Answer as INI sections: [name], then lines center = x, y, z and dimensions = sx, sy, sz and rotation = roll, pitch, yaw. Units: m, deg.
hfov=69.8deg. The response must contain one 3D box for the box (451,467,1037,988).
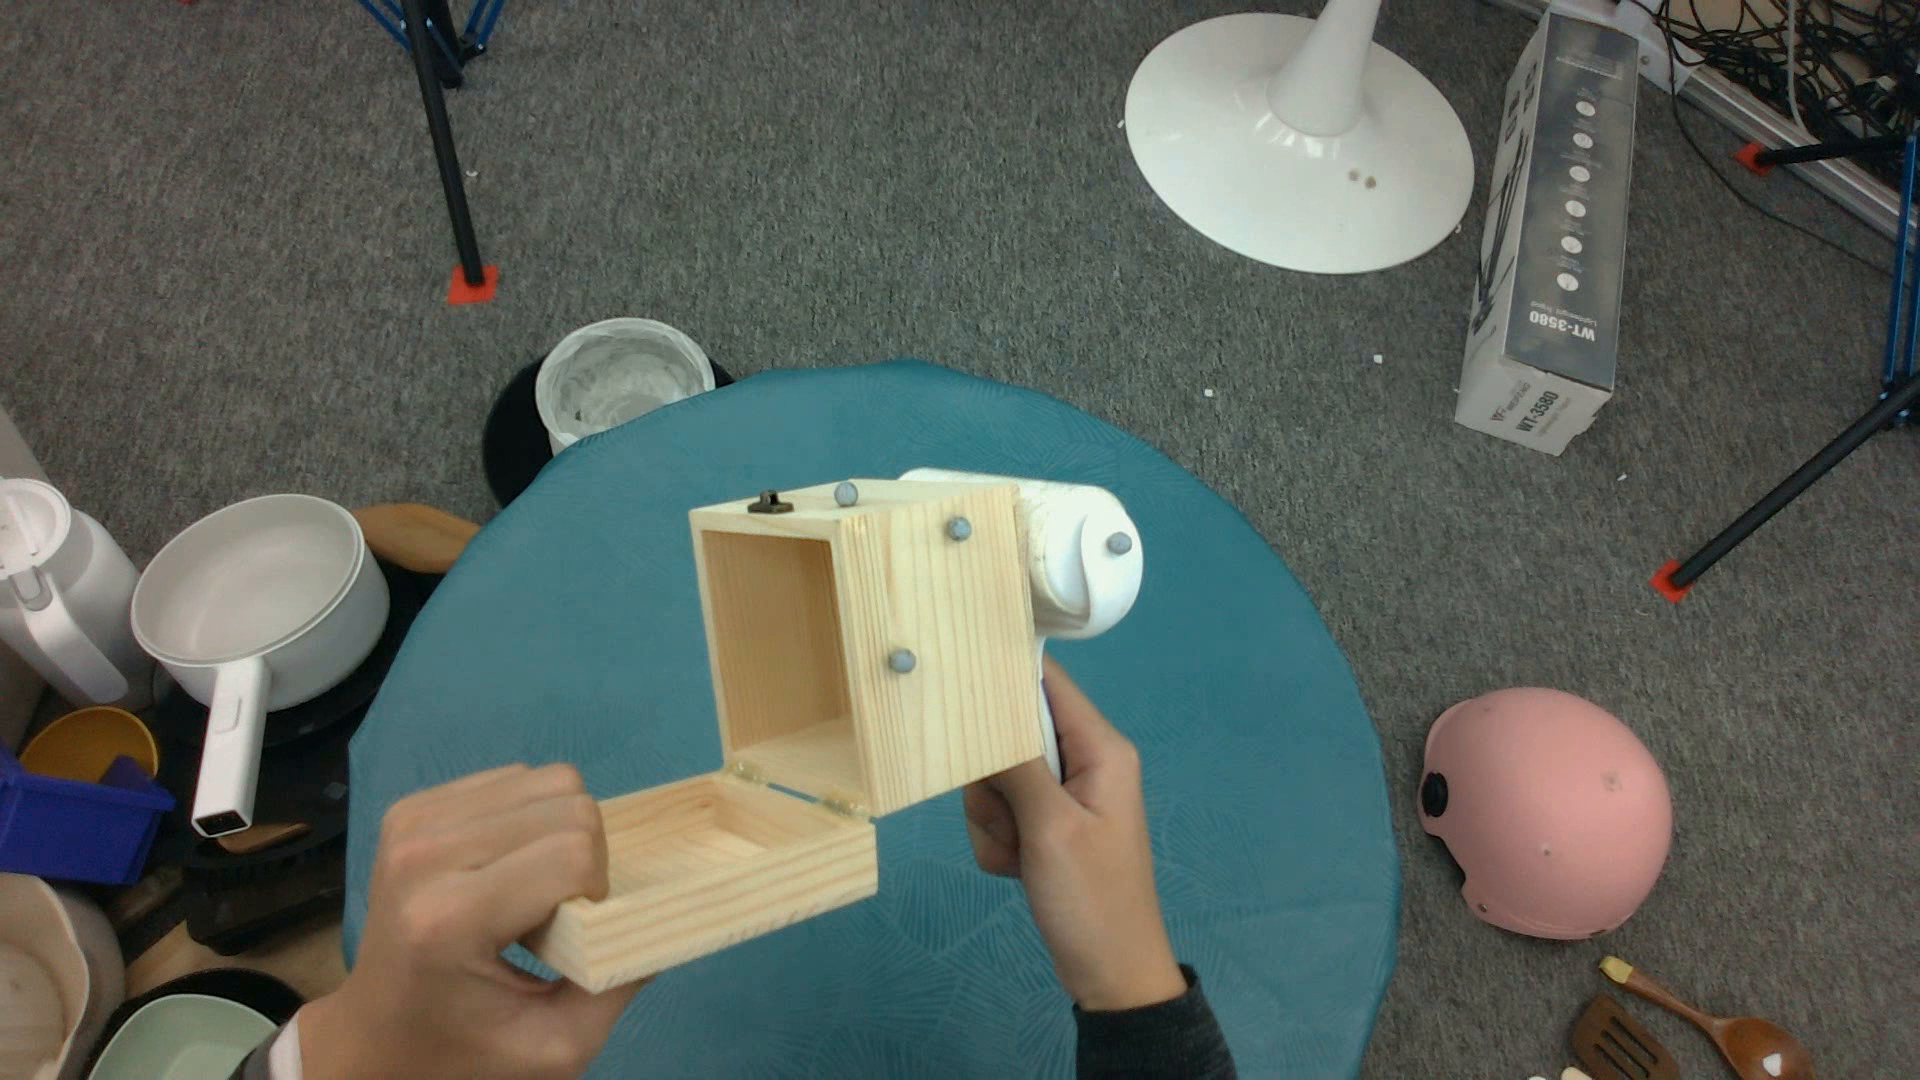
[box]
center = -0.077, 0.048, 0.475
dimensions = 0.185, 0.102, 0.133
rotation = -14, 101, -39

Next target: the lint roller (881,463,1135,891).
[lint roller]
center = 0.027, 0.057, 0.556
dimensions = 0.050, 0.180, 0.132
rotation = -30, 22, -35
